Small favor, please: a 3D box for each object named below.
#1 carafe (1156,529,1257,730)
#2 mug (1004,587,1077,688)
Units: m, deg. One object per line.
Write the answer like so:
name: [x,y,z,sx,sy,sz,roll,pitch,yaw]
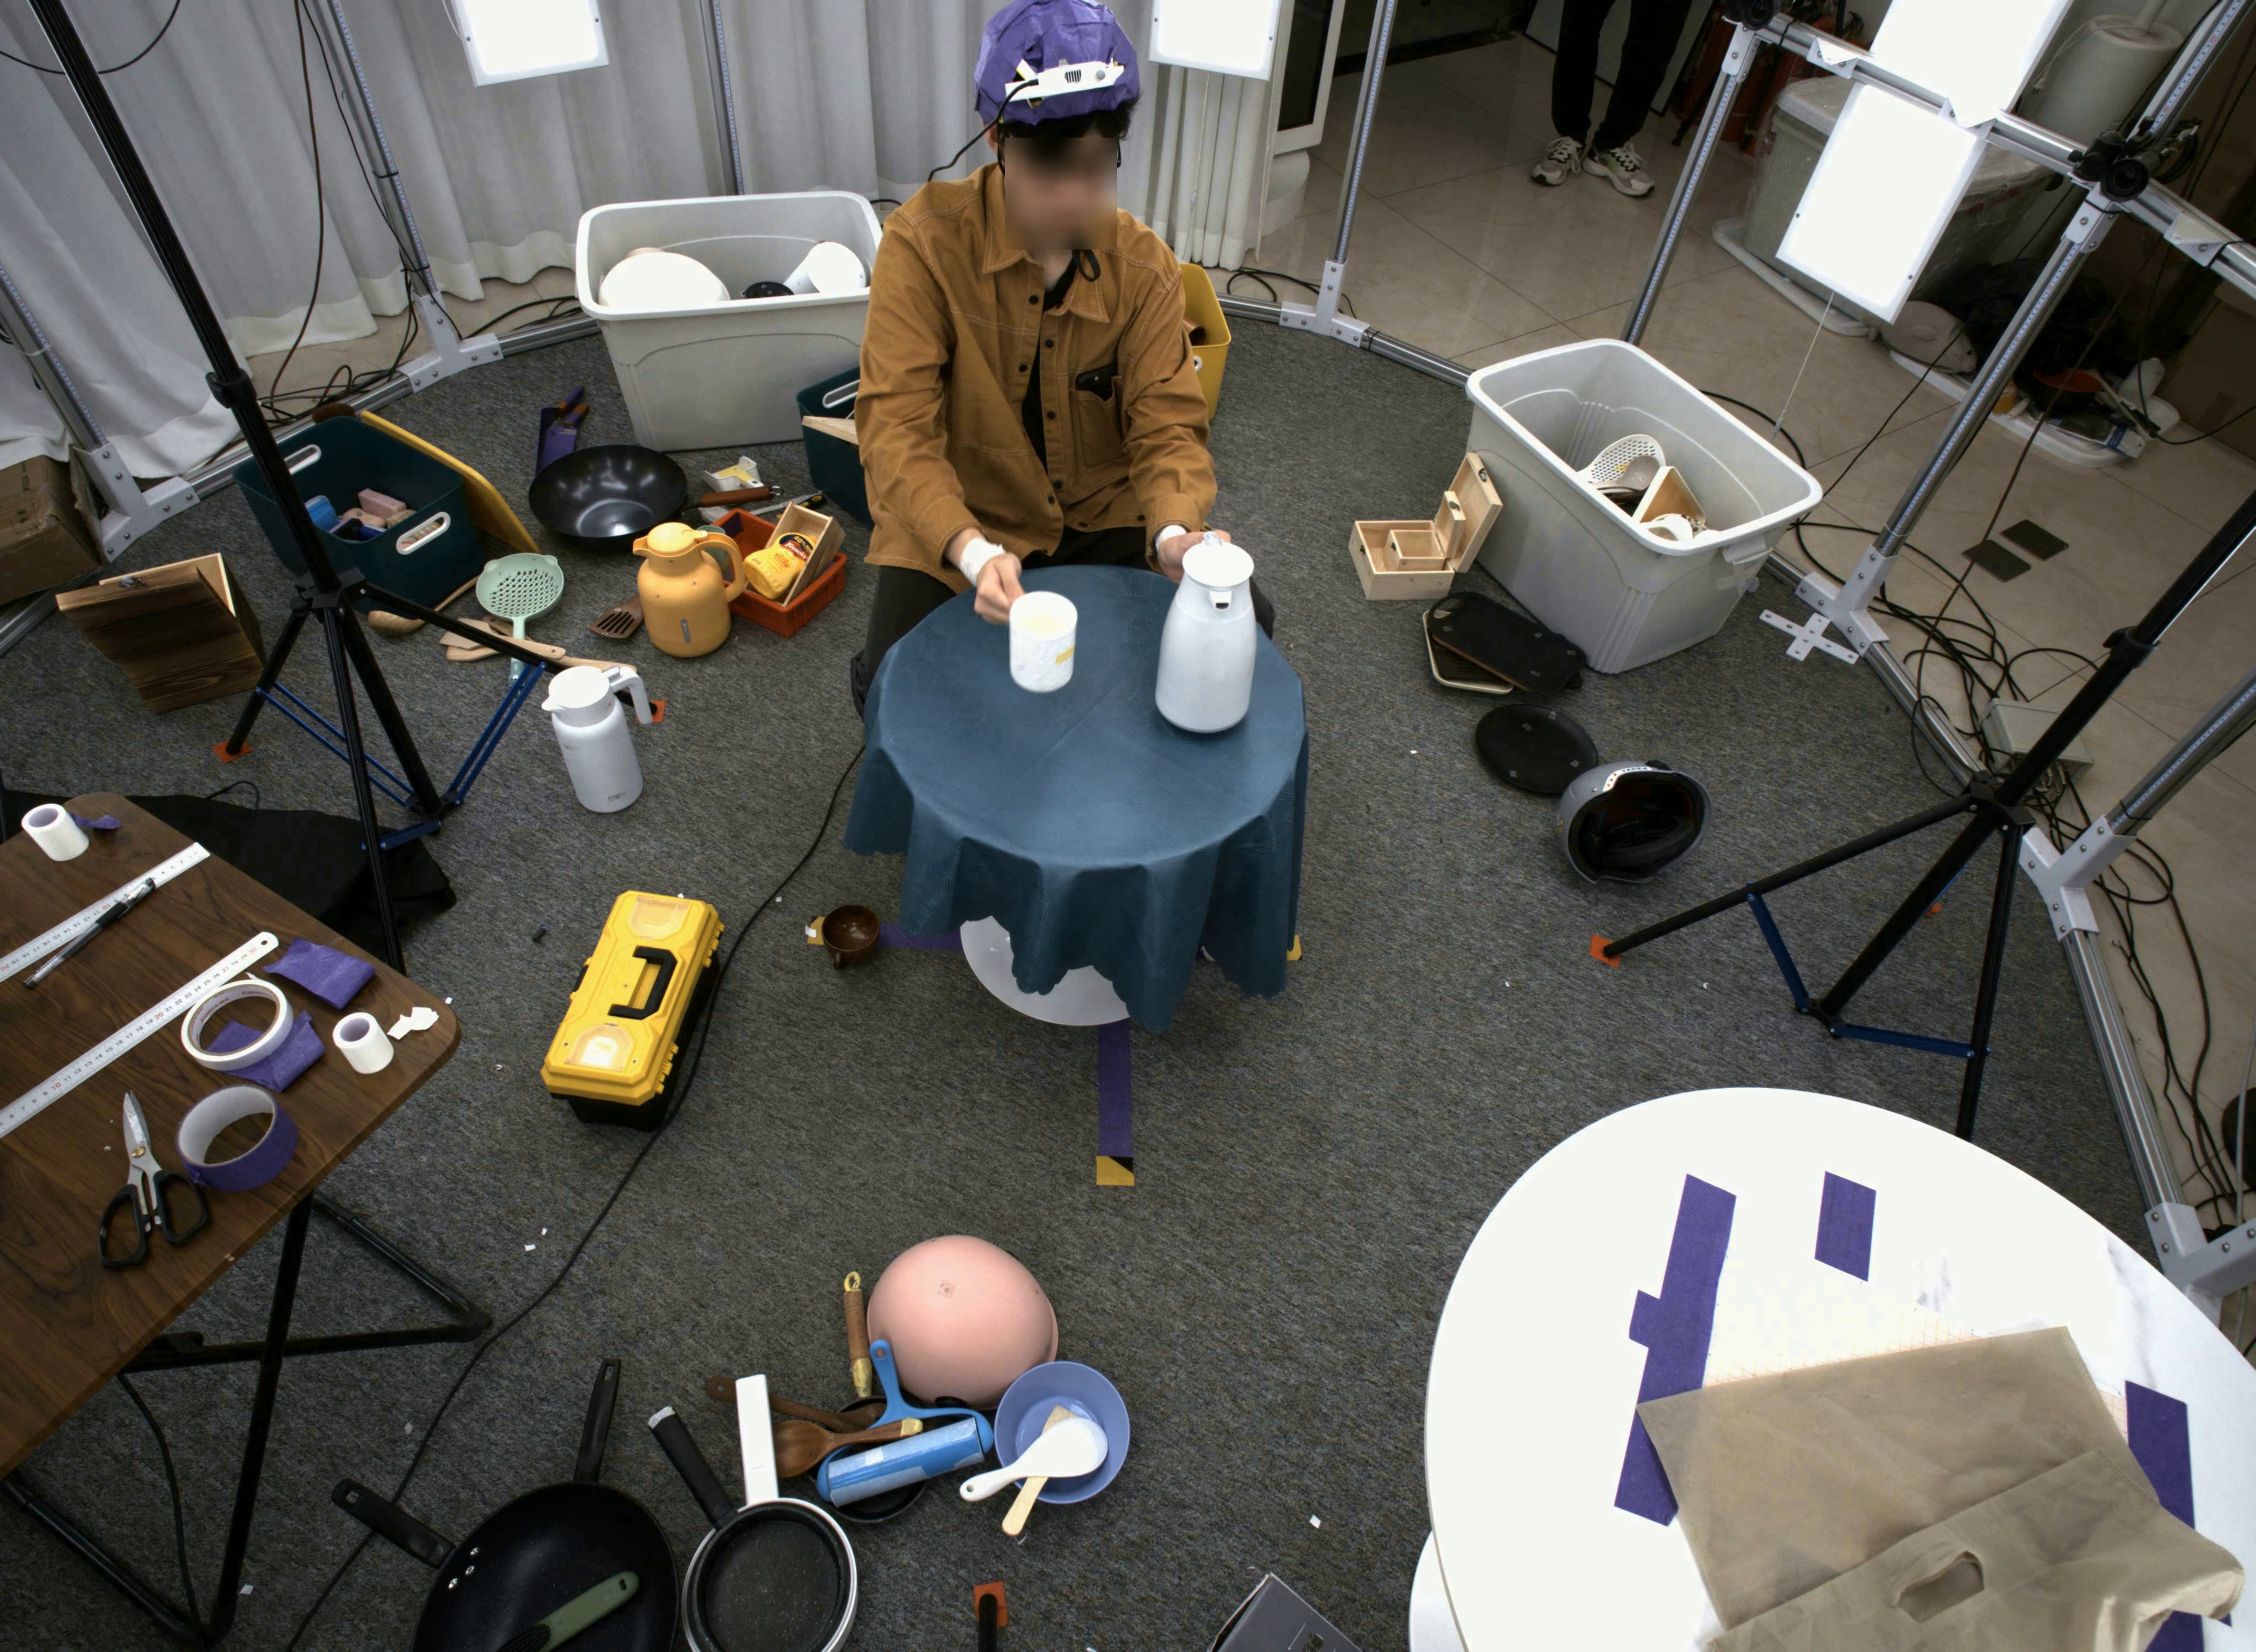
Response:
carafe: [0.107,-0.275,1.727,0.132,0.242,0.172,-2,48,-4]
mug: [-0.120,-0.251,1.663,0.085,0.099,0.120,-31,58,-27]
